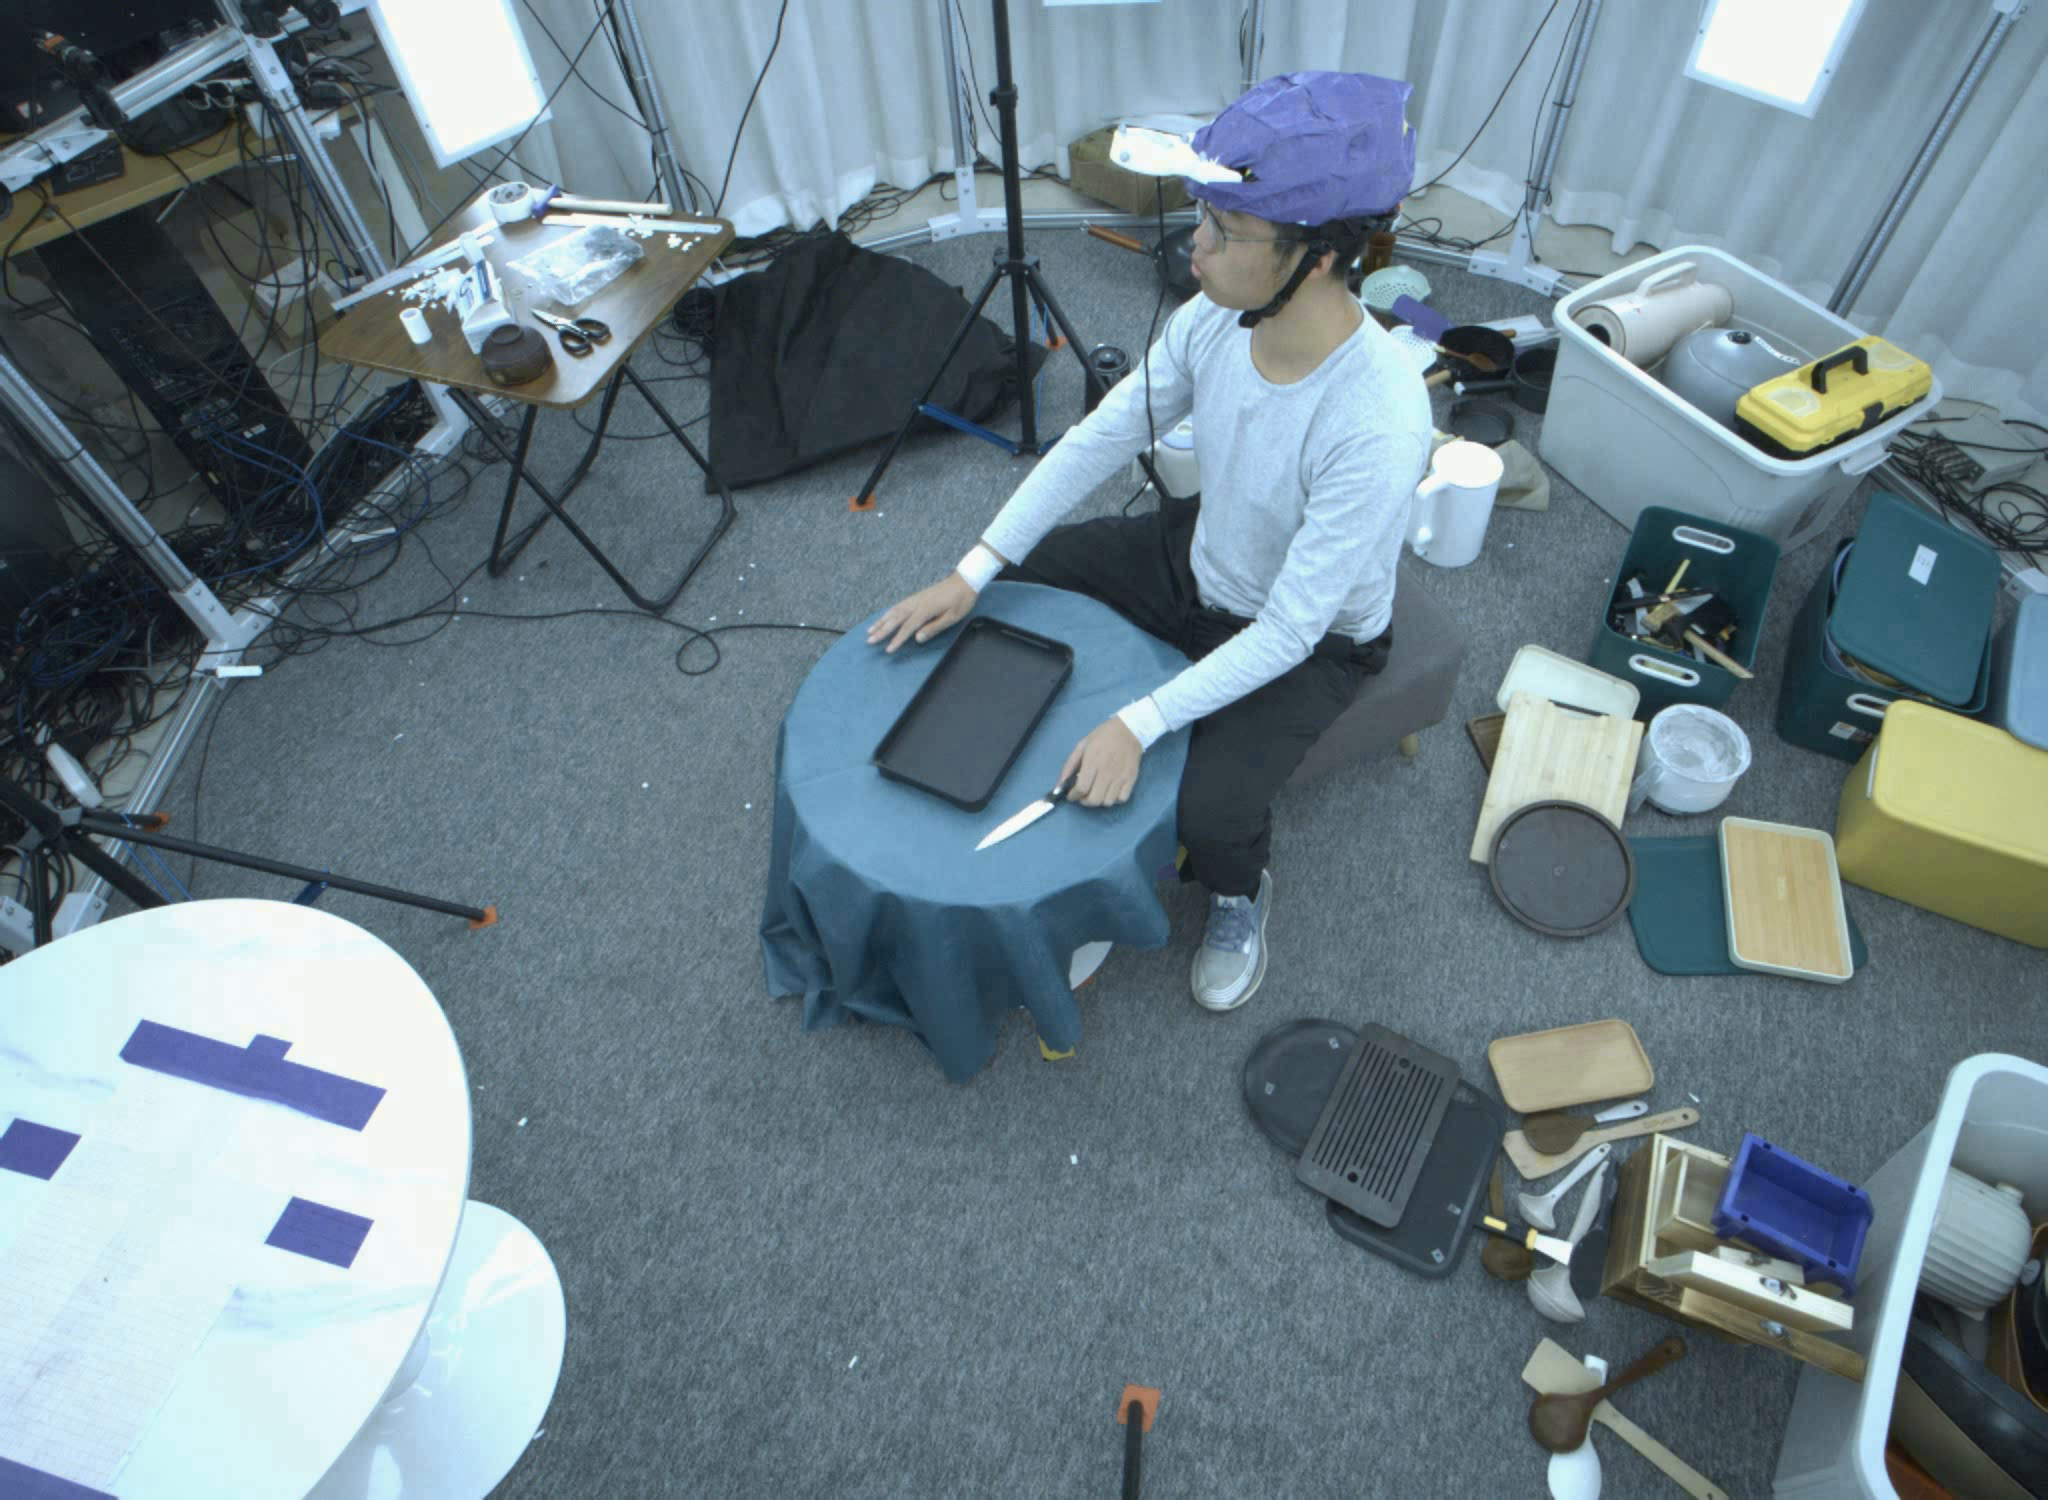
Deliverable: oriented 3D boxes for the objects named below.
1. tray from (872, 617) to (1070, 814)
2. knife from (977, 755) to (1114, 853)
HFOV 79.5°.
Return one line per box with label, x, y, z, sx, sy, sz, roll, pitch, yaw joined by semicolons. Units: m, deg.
tray;-0.074;-0.057;1.816;0.182;0.037;0.318;21;57;15
knife;0.028;0.074;1.732;0.240;0.016;0.024;-34;60;-17
